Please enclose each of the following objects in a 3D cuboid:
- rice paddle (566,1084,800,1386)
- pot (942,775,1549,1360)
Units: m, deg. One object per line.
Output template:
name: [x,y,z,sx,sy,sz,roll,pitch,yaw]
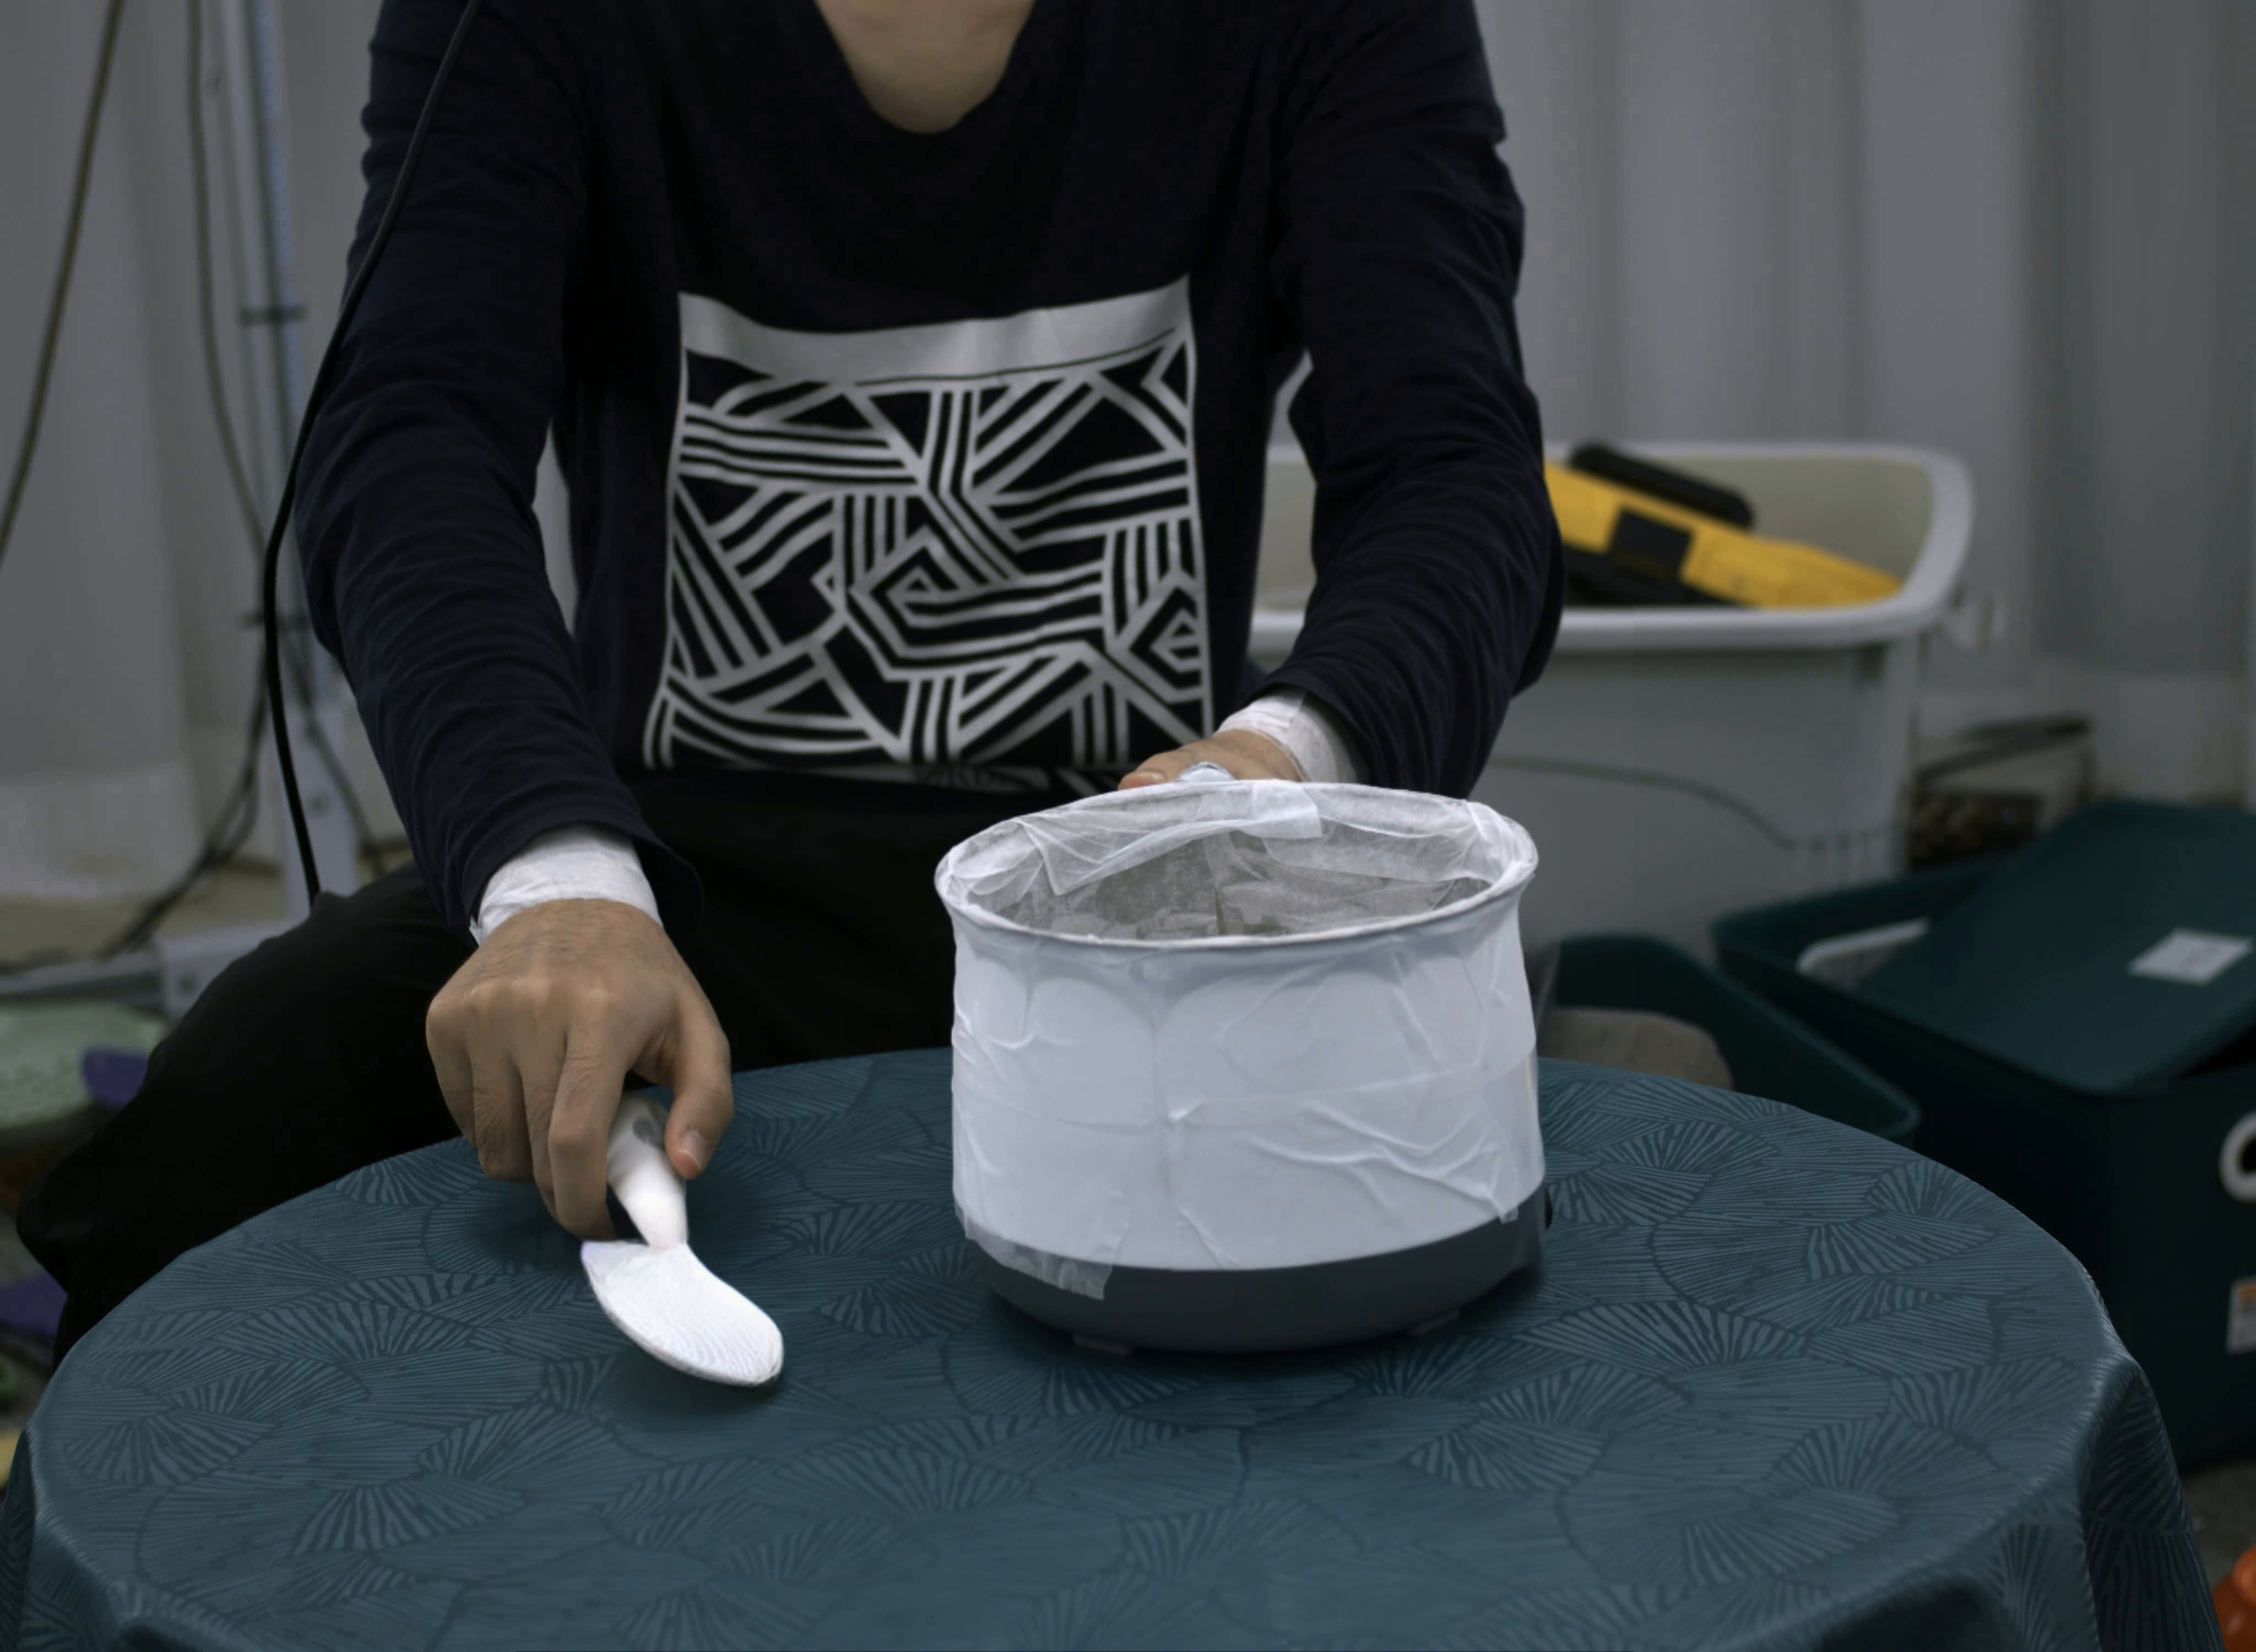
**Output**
rice paddle: [-0.139,0.123,1.632,0.068,0.029,0.207,24,9,-18]
pot: [0.033,0.067,1.640,0.178,0.136,0.235,-2,13,-5]
